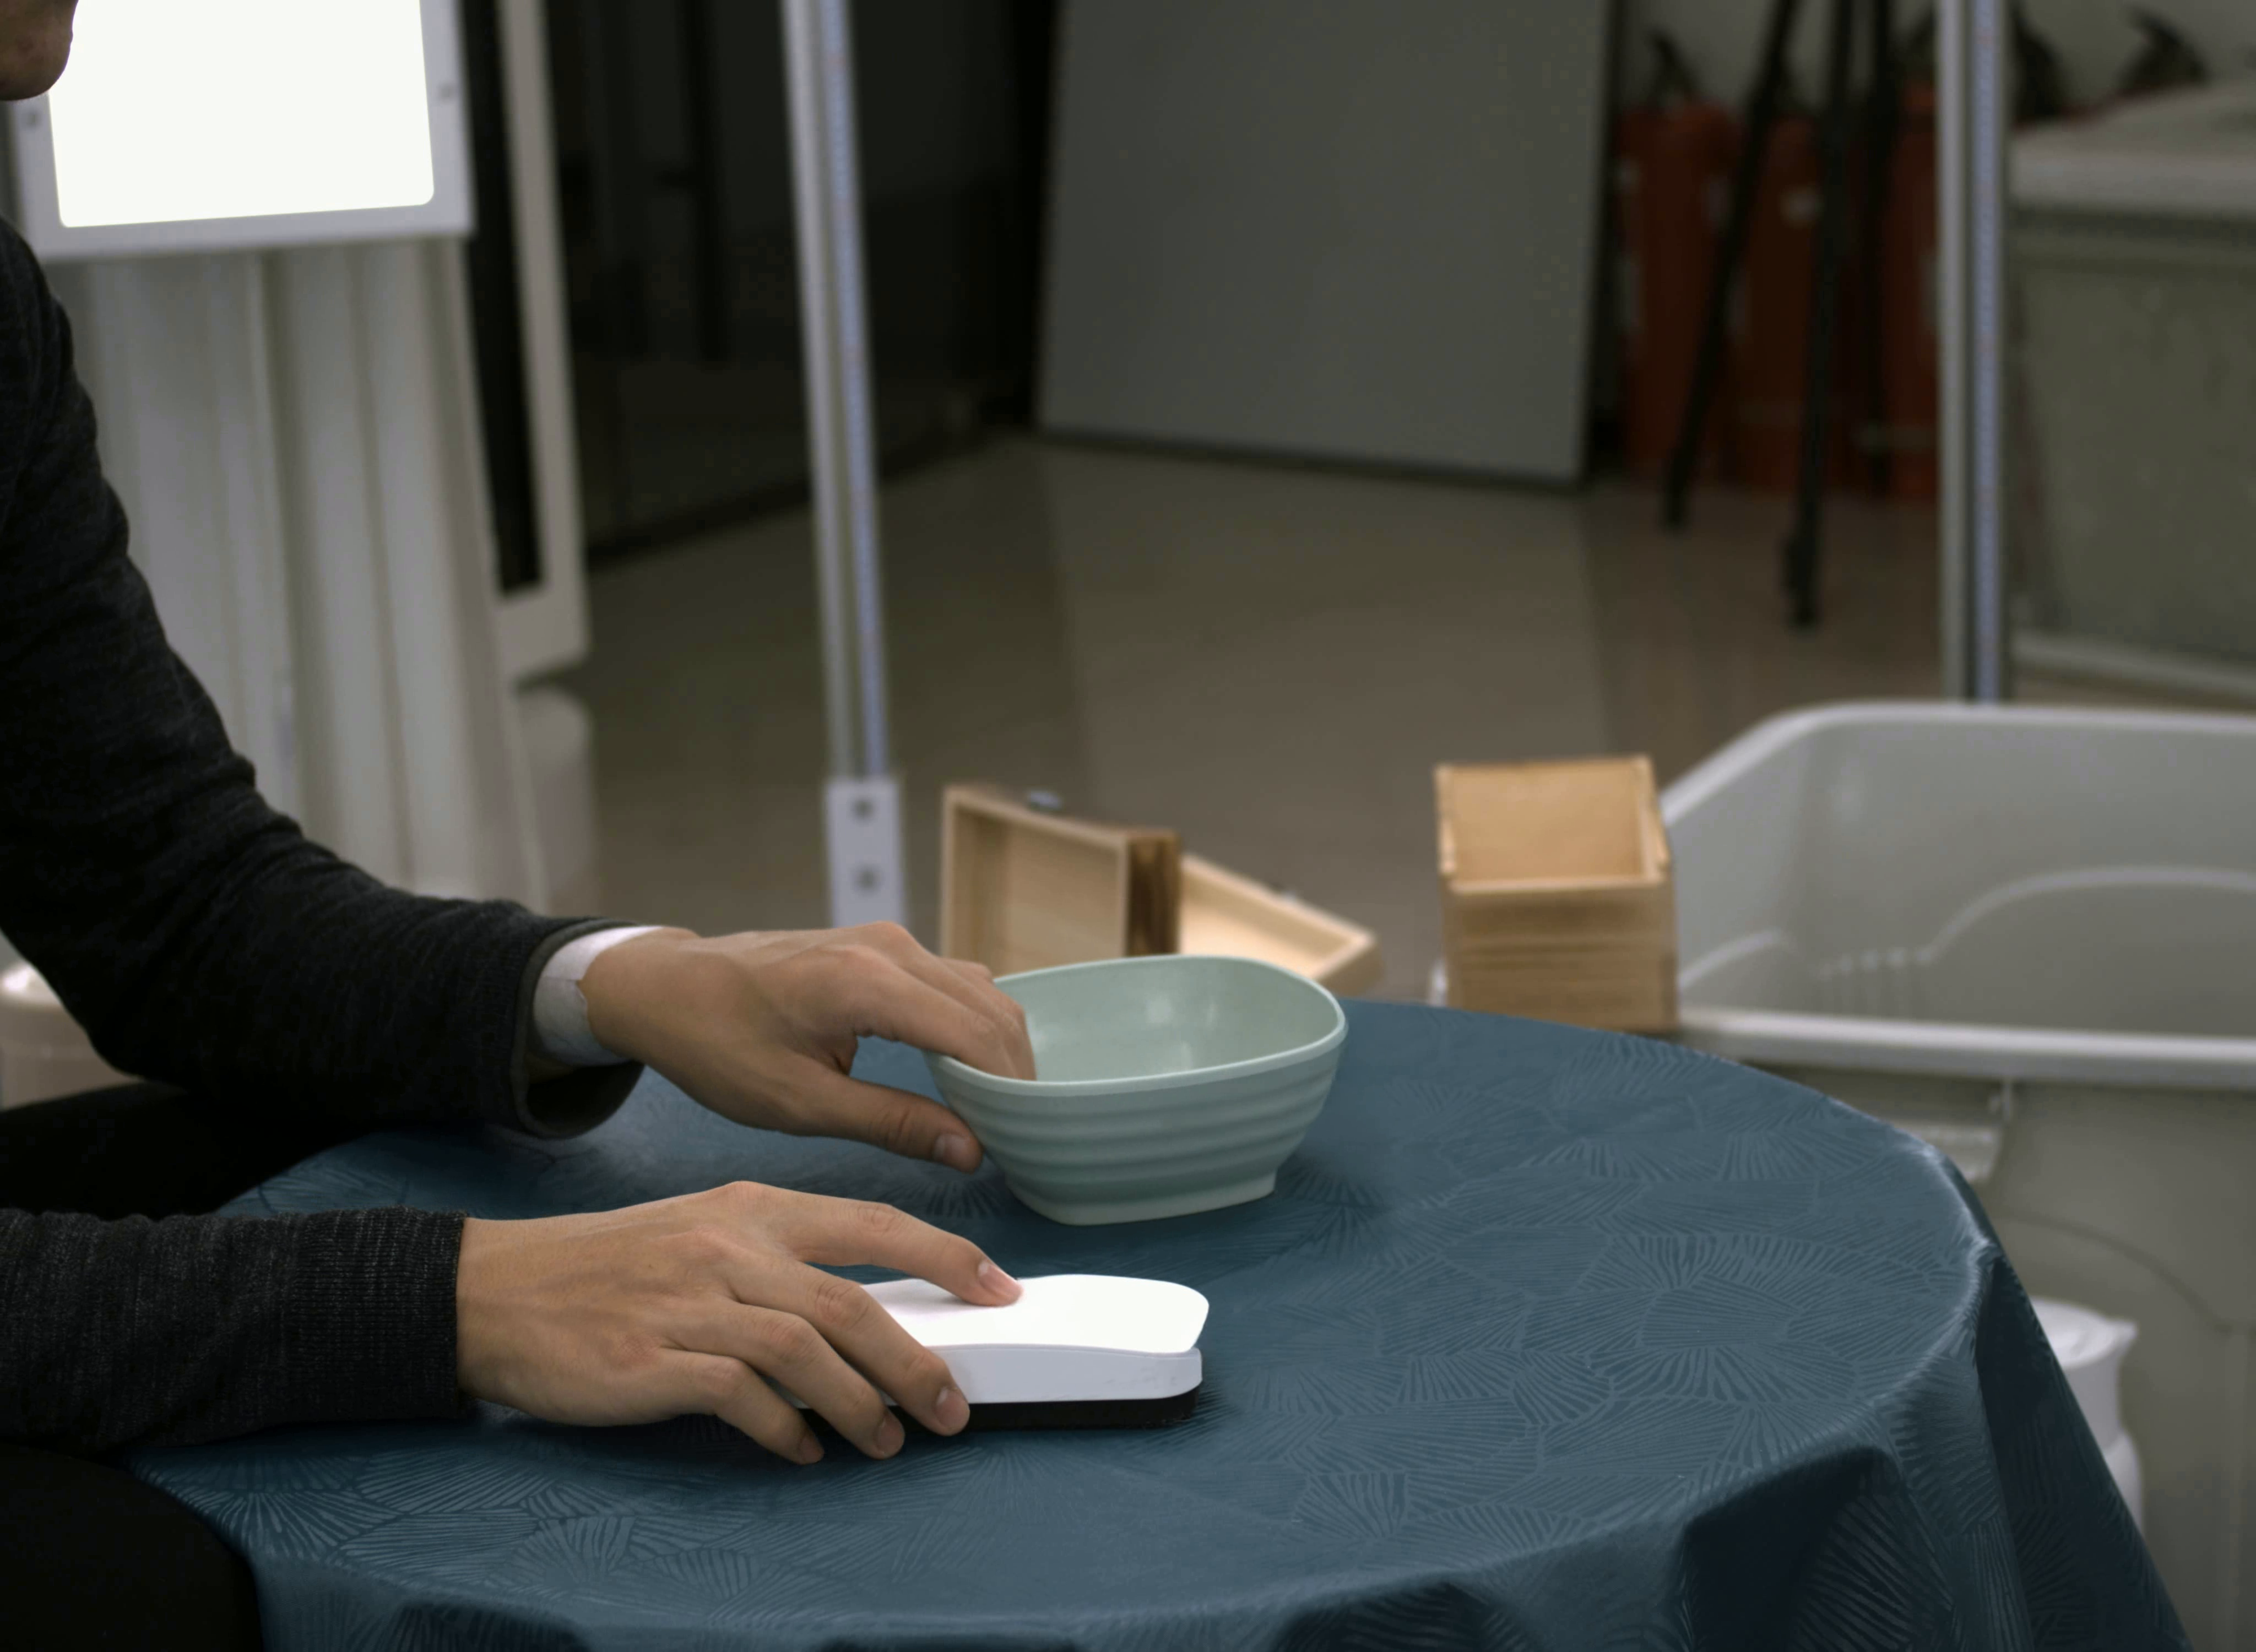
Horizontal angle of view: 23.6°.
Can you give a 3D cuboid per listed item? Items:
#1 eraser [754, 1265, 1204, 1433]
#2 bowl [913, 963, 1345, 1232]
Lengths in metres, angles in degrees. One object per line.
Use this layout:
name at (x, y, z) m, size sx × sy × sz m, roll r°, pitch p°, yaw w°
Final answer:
eraser at (-0.043, 0.154, 1.582) m, size 0.130 × 0.035 × 0.063 m, roll -1°, pitch 12°, yaw 7°
bowl at (0.001, 0.092, 1.773) m, size 0.149 × 0.059 × 0.152 m, roll -3°, pitch 14°, yaw 0°
